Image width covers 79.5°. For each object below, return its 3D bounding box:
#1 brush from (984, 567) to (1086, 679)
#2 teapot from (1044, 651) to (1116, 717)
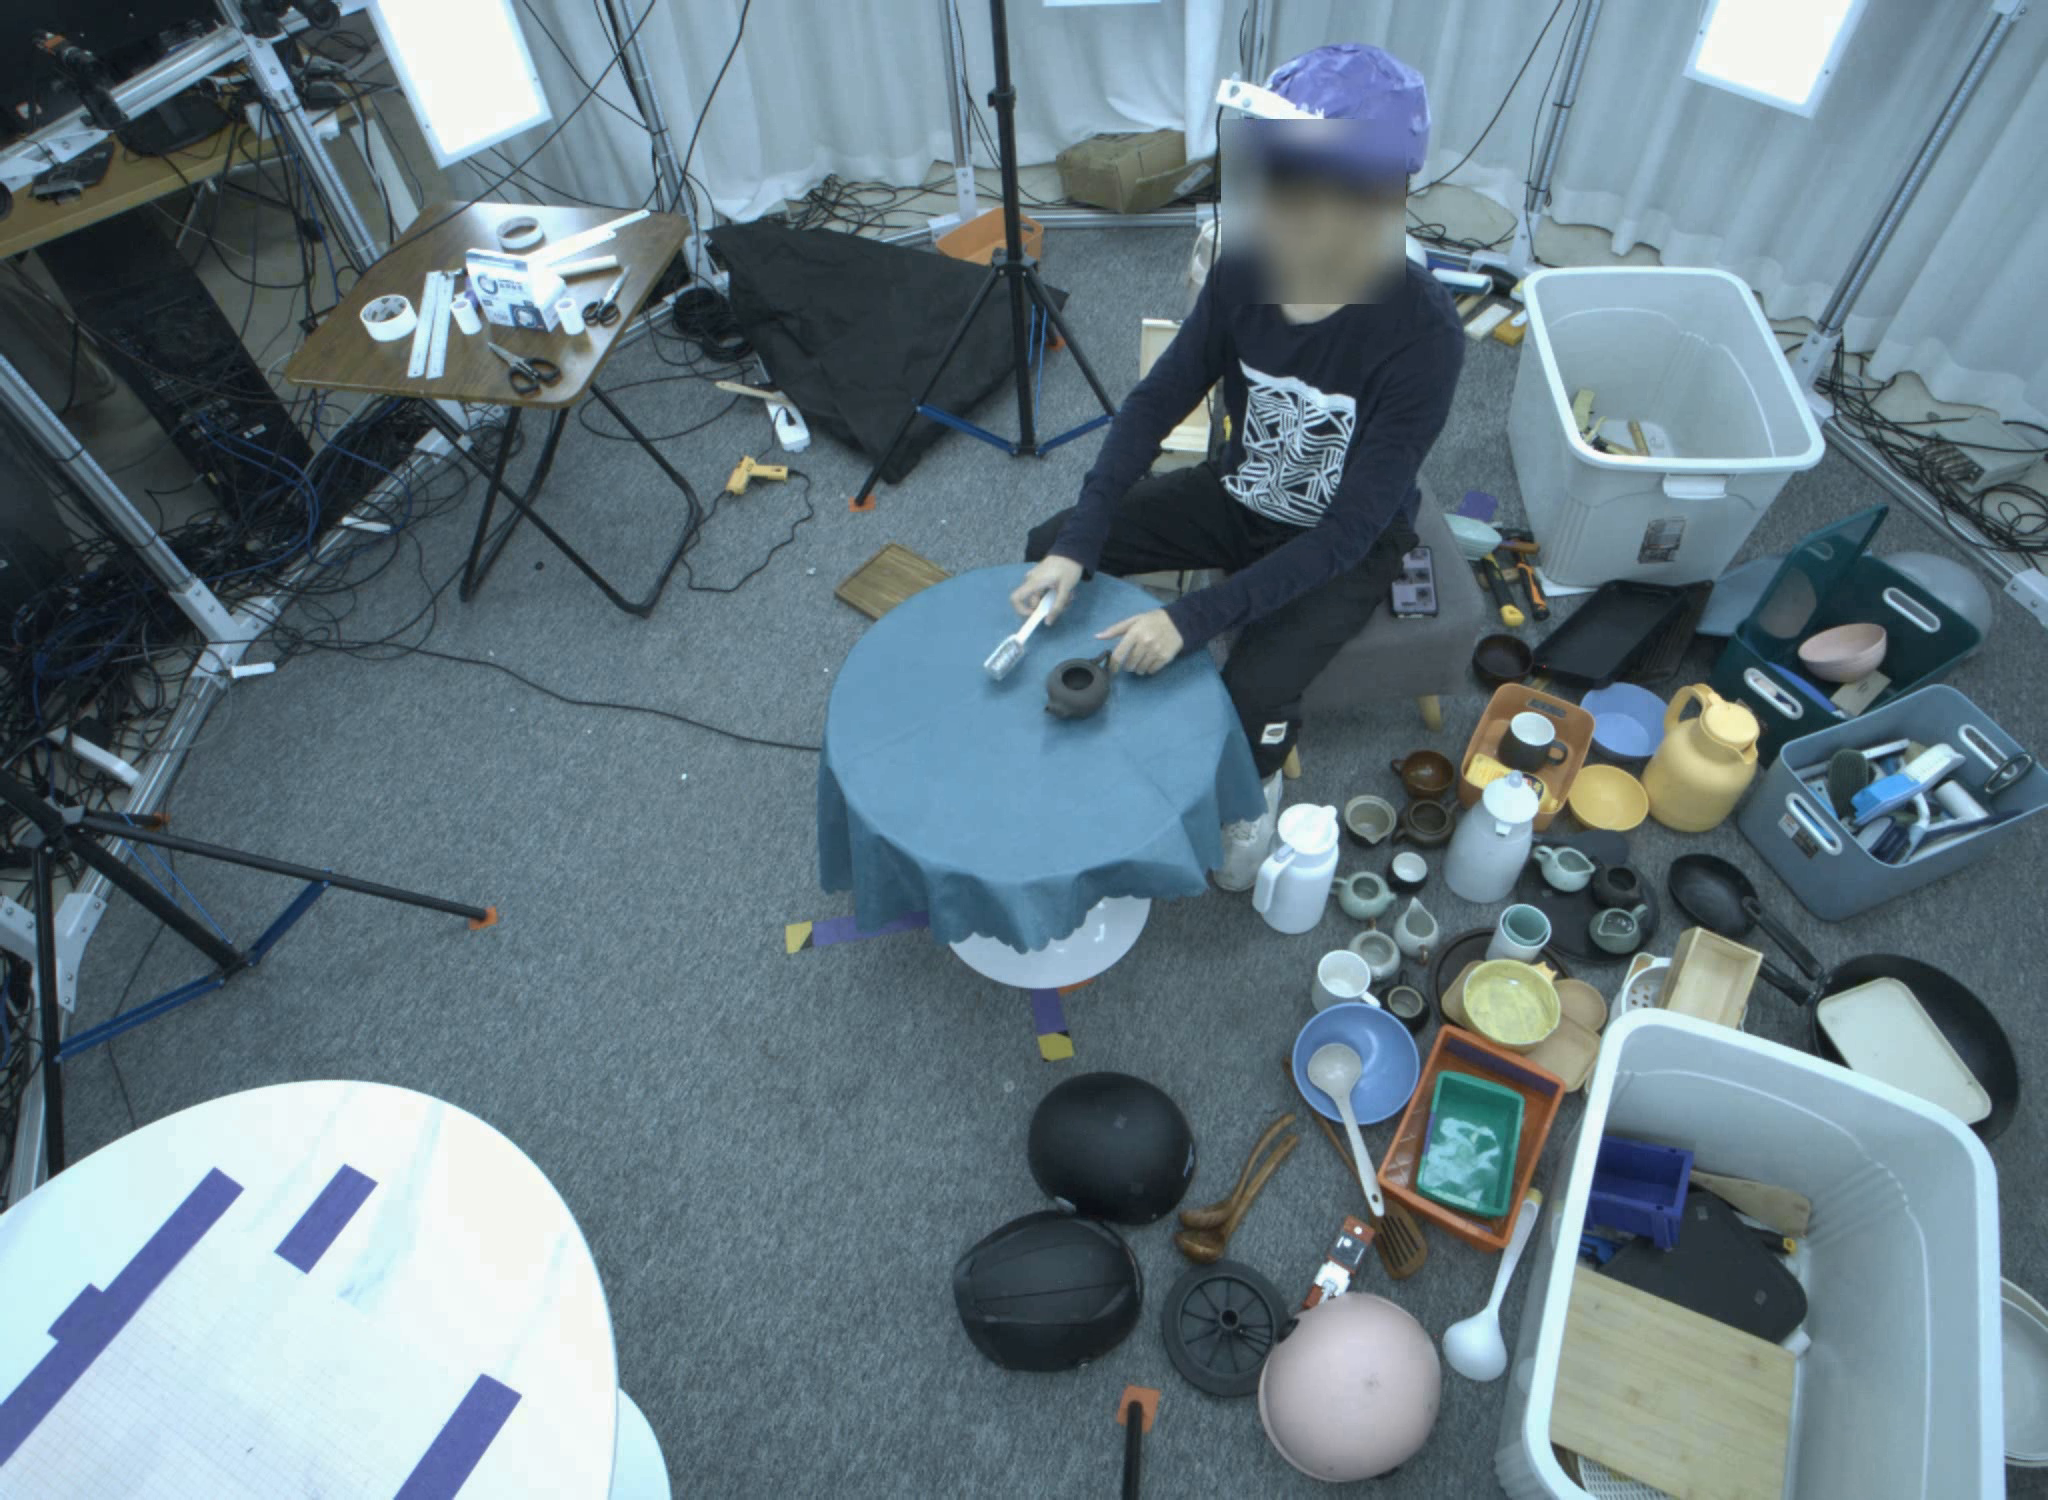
[{"bbox_3d":[0.022,-0.200,1.868,0.034,0.050,0.244,43,71,-4],"label":"brush"},{"bbox_3d":[0.082,-0.093,1.806,0.091,0.065,0.155,35,62,25],"label":"teapot"}]
